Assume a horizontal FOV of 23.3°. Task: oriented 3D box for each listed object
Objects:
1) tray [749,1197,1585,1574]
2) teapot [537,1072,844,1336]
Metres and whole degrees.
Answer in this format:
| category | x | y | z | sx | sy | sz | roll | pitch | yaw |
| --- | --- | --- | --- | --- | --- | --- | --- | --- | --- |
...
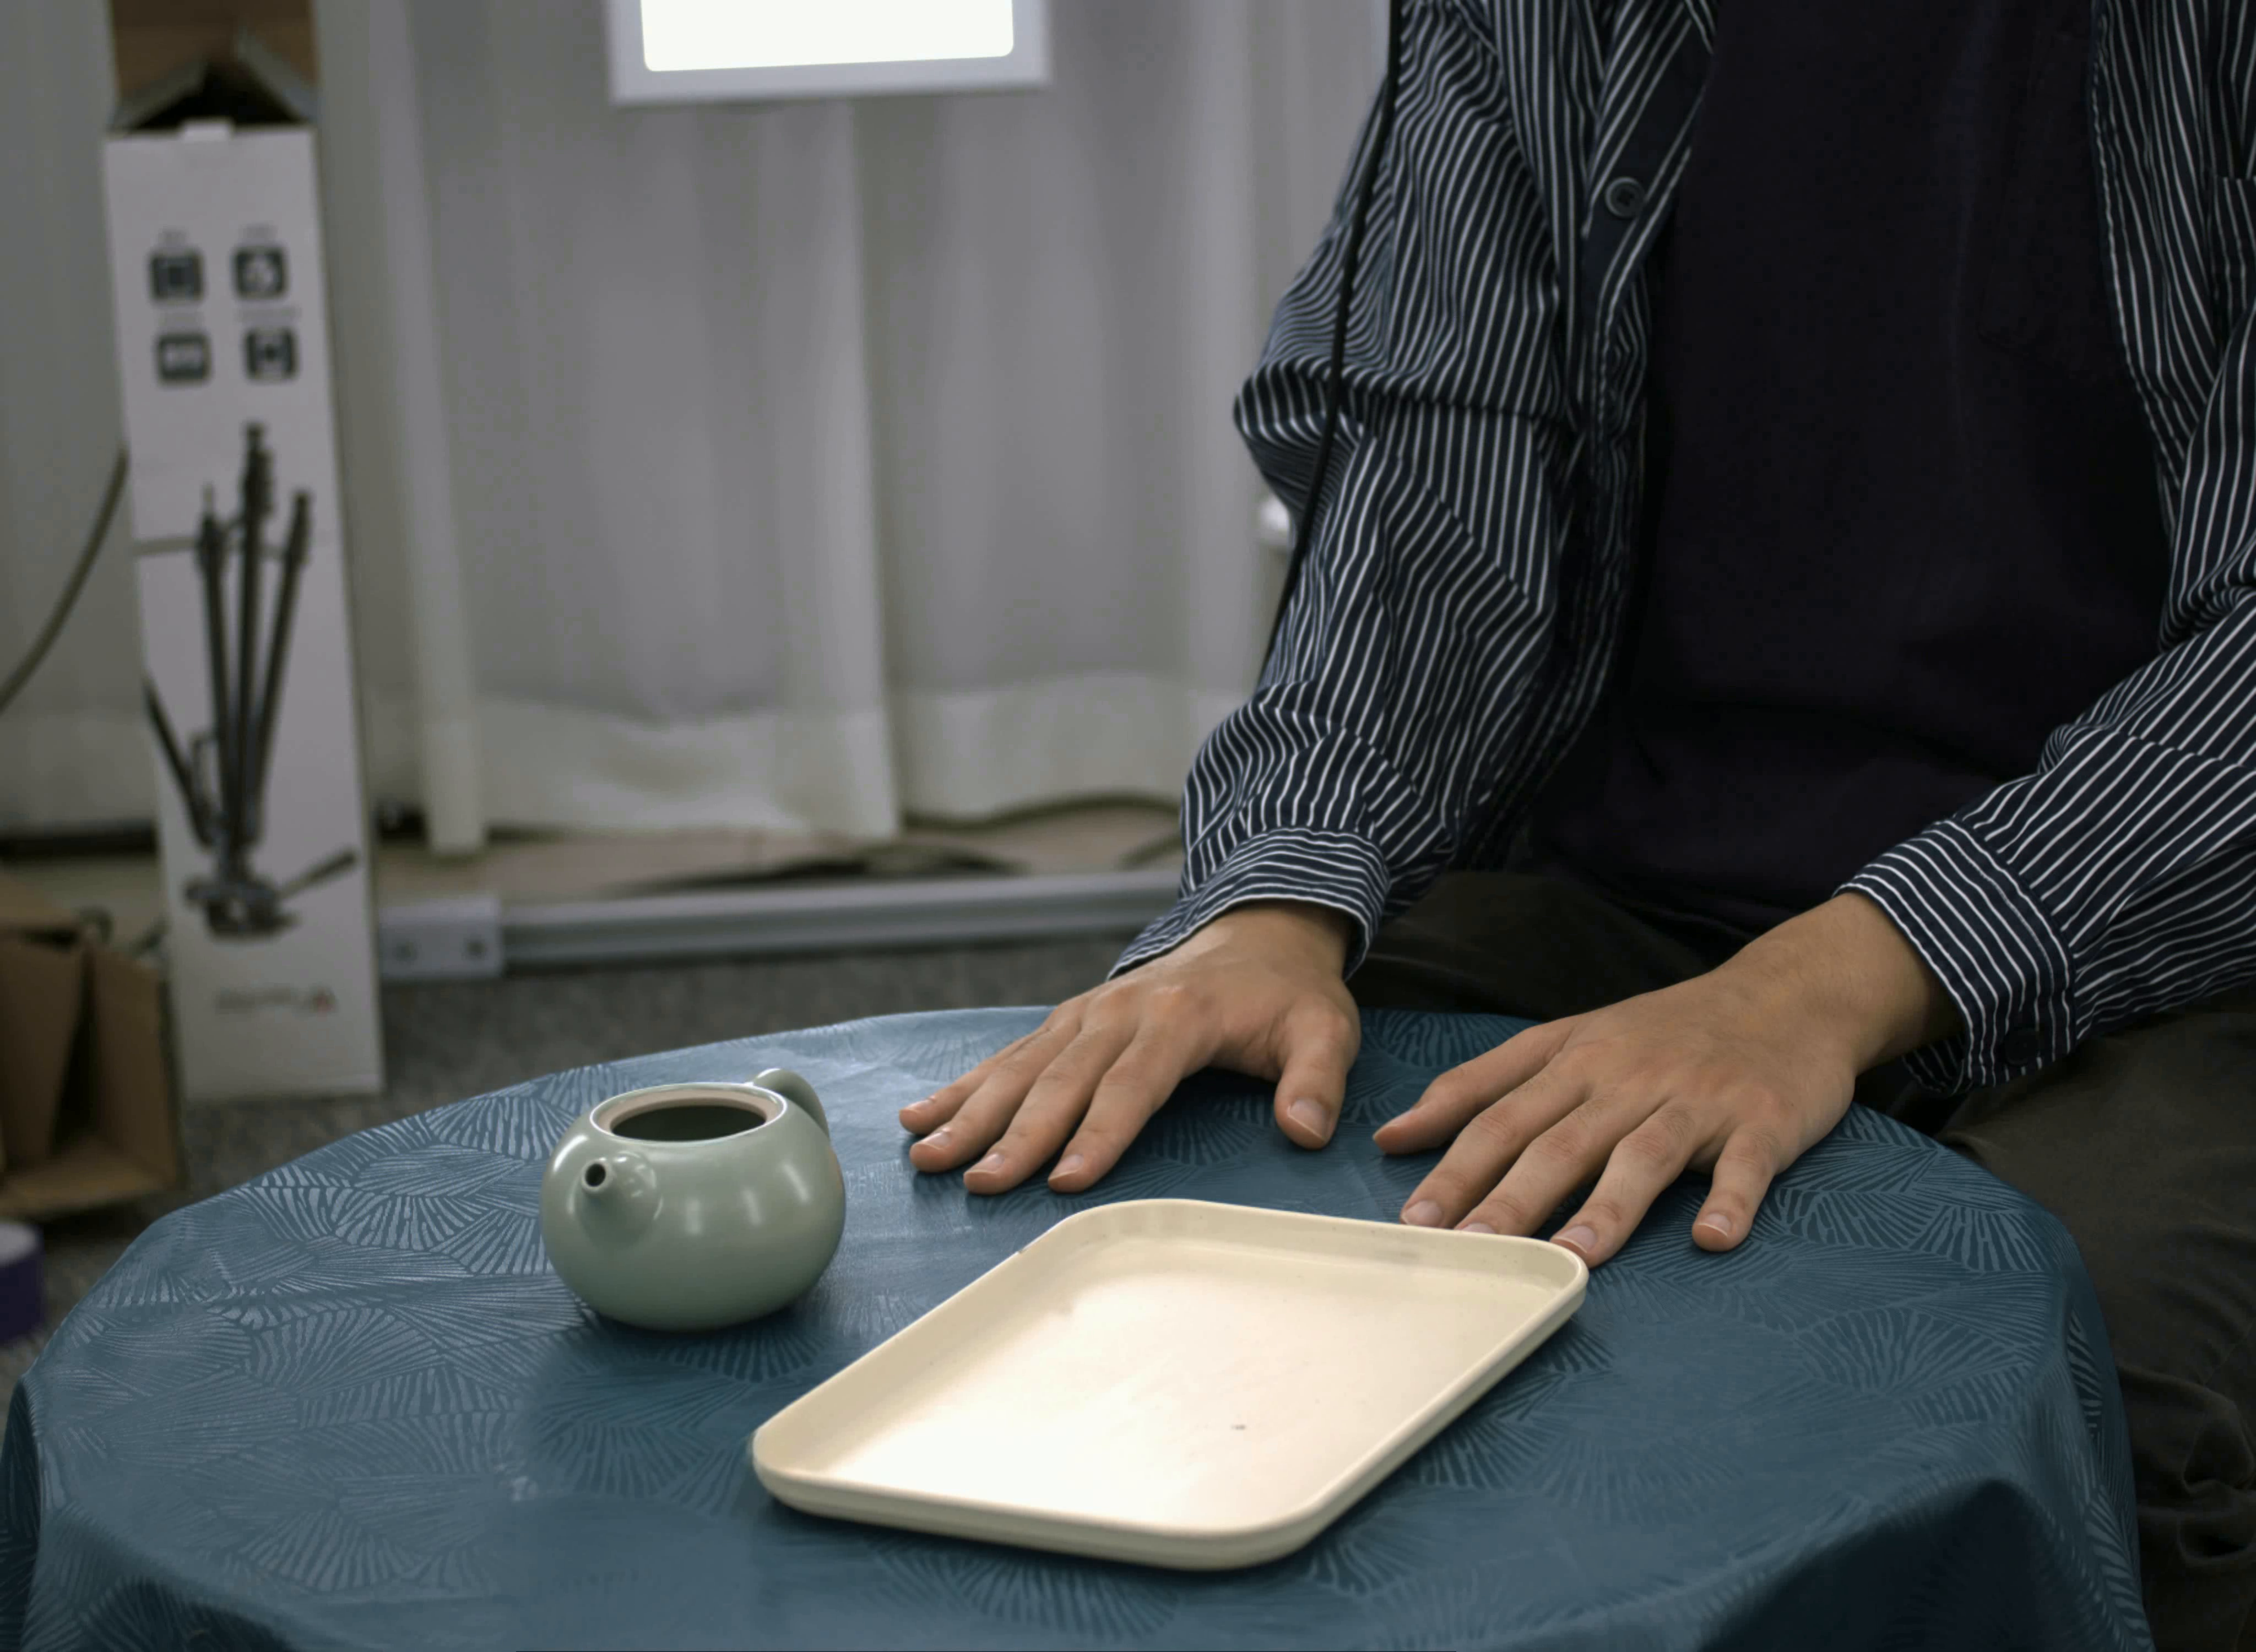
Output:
| category | x | y | z | sx | sy | sz | roll | pitch | yaw |
| --- | --- | --- | --- | --- | --- | --- | --- | --- | --- |
| tray | 0.015 | 0.155 | 1.529 | 0.171 | 0.017 | 0.240 | 5 | 17 | 26 |
| teapot | -0.125 | 0.113 | 1.638 | 0.092 | 0.061 | 0.128 | 4 | 15 | 32 |
